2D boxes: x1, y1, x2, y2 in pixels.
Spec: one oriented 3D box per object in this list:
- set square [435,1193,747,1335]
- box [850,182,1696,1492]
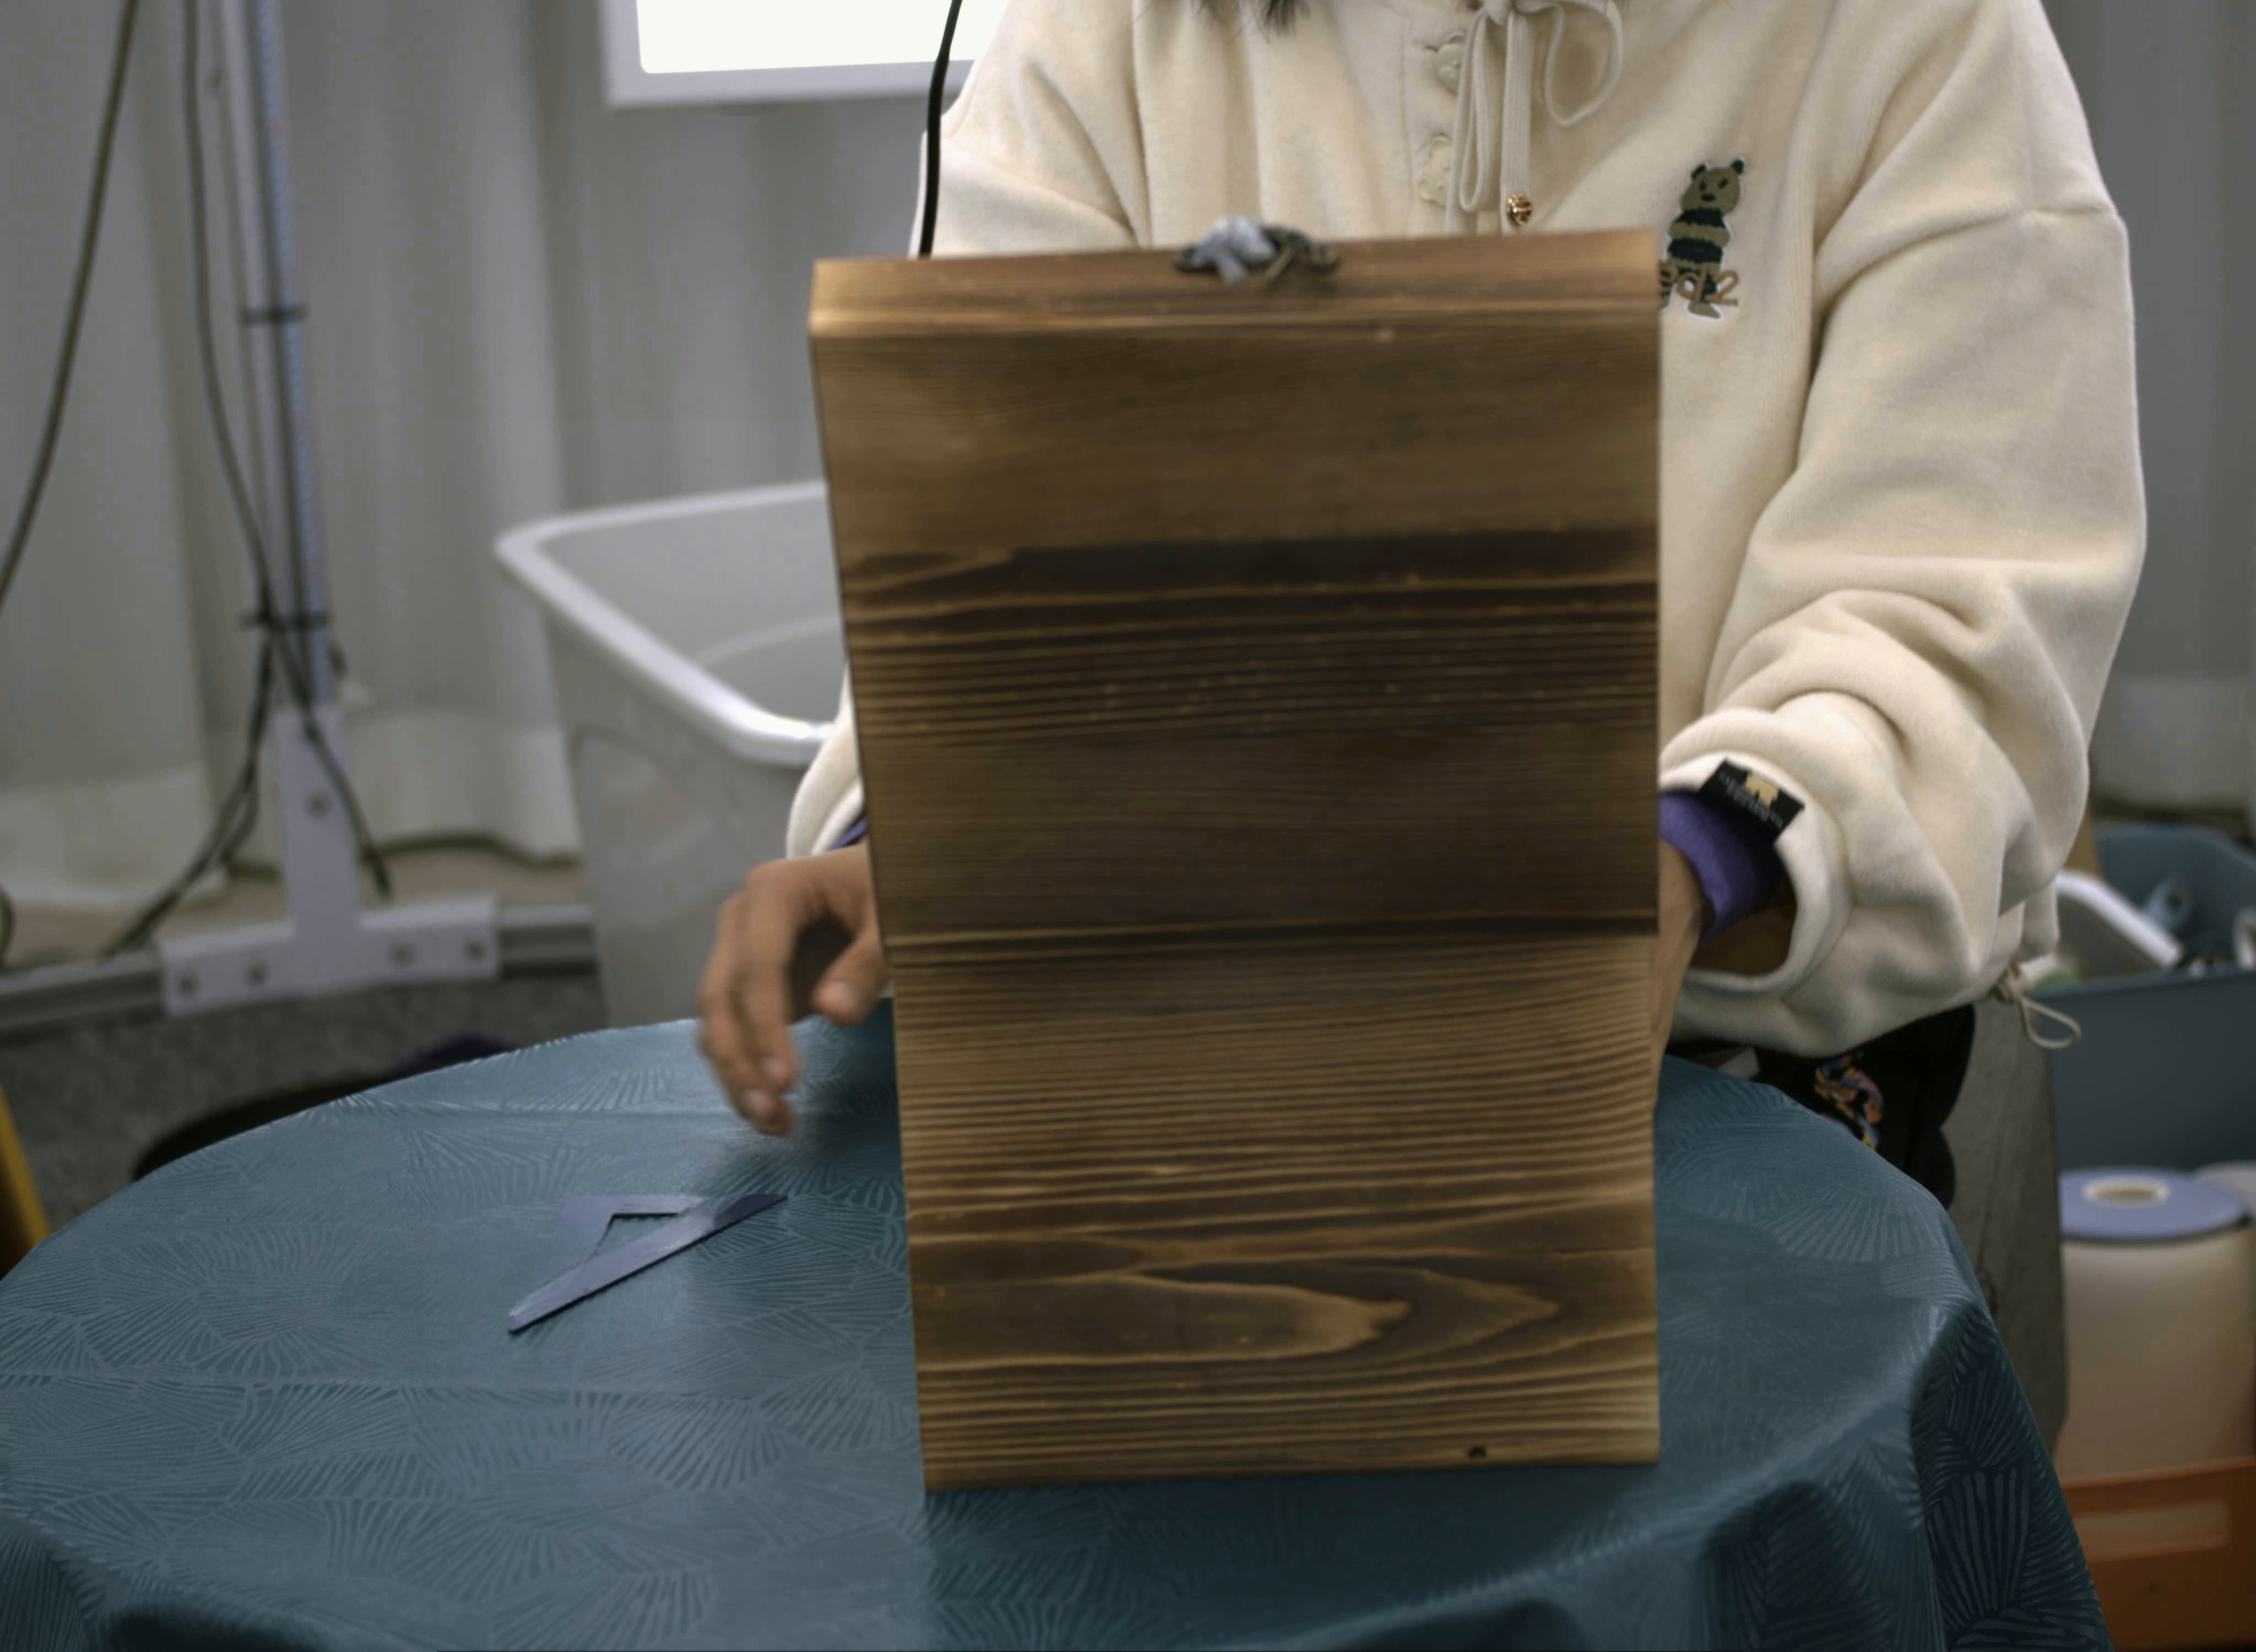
[{"bbox_3d":[-0.180,0.130,1.681,0.061,0.006,0.132,11,20,35],"label":"set square"},{"bbox_3d":[0.039,-0.008,1.477,0.208,0.374,0.324,-2,15,1],"label":"box"}]
